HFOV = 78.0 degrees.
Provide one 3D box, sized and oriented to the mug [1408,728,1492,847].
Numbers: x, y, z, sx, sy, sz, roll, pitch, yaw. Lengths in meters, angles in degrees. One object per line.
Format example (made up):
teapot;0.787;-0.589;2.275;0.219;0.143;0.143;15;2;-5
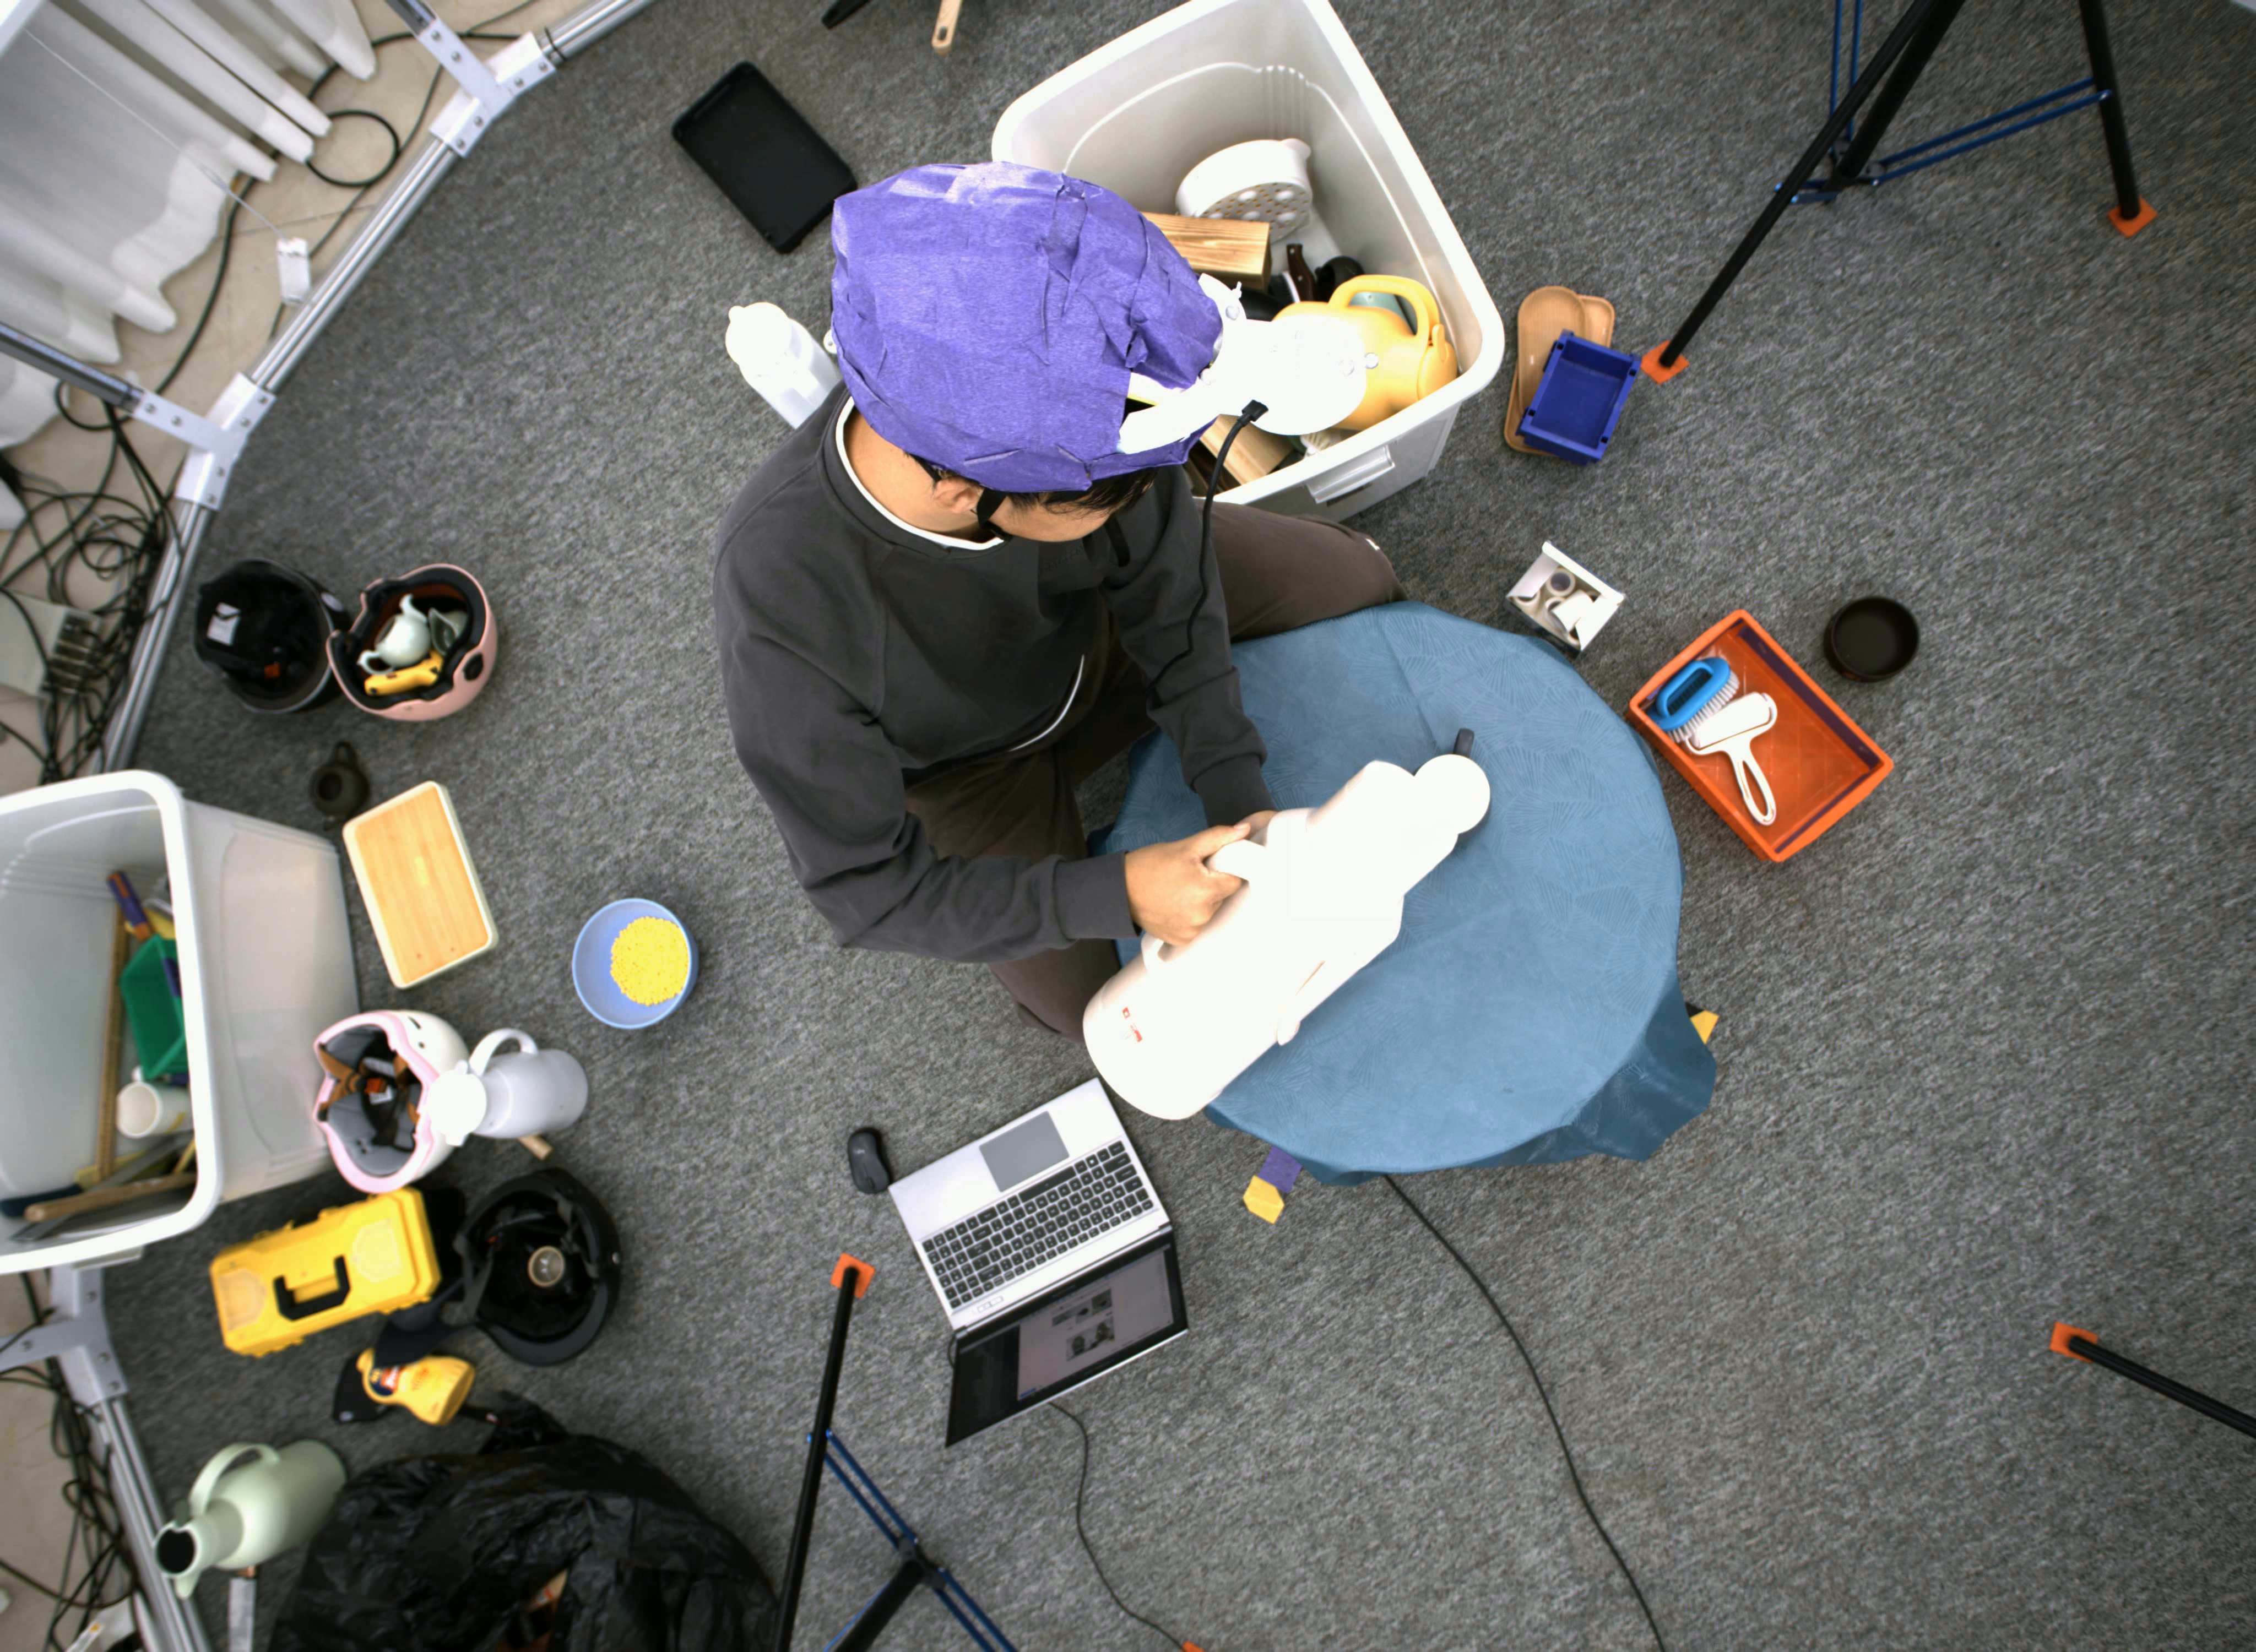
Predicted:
mug;0.333;-0.043;1.410;0.093;0.090;0.123;19;90;12

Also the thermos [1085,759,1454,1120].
thermos;0.120;0.102;1.300;0.415;0.207;0.171;-48;38;35
